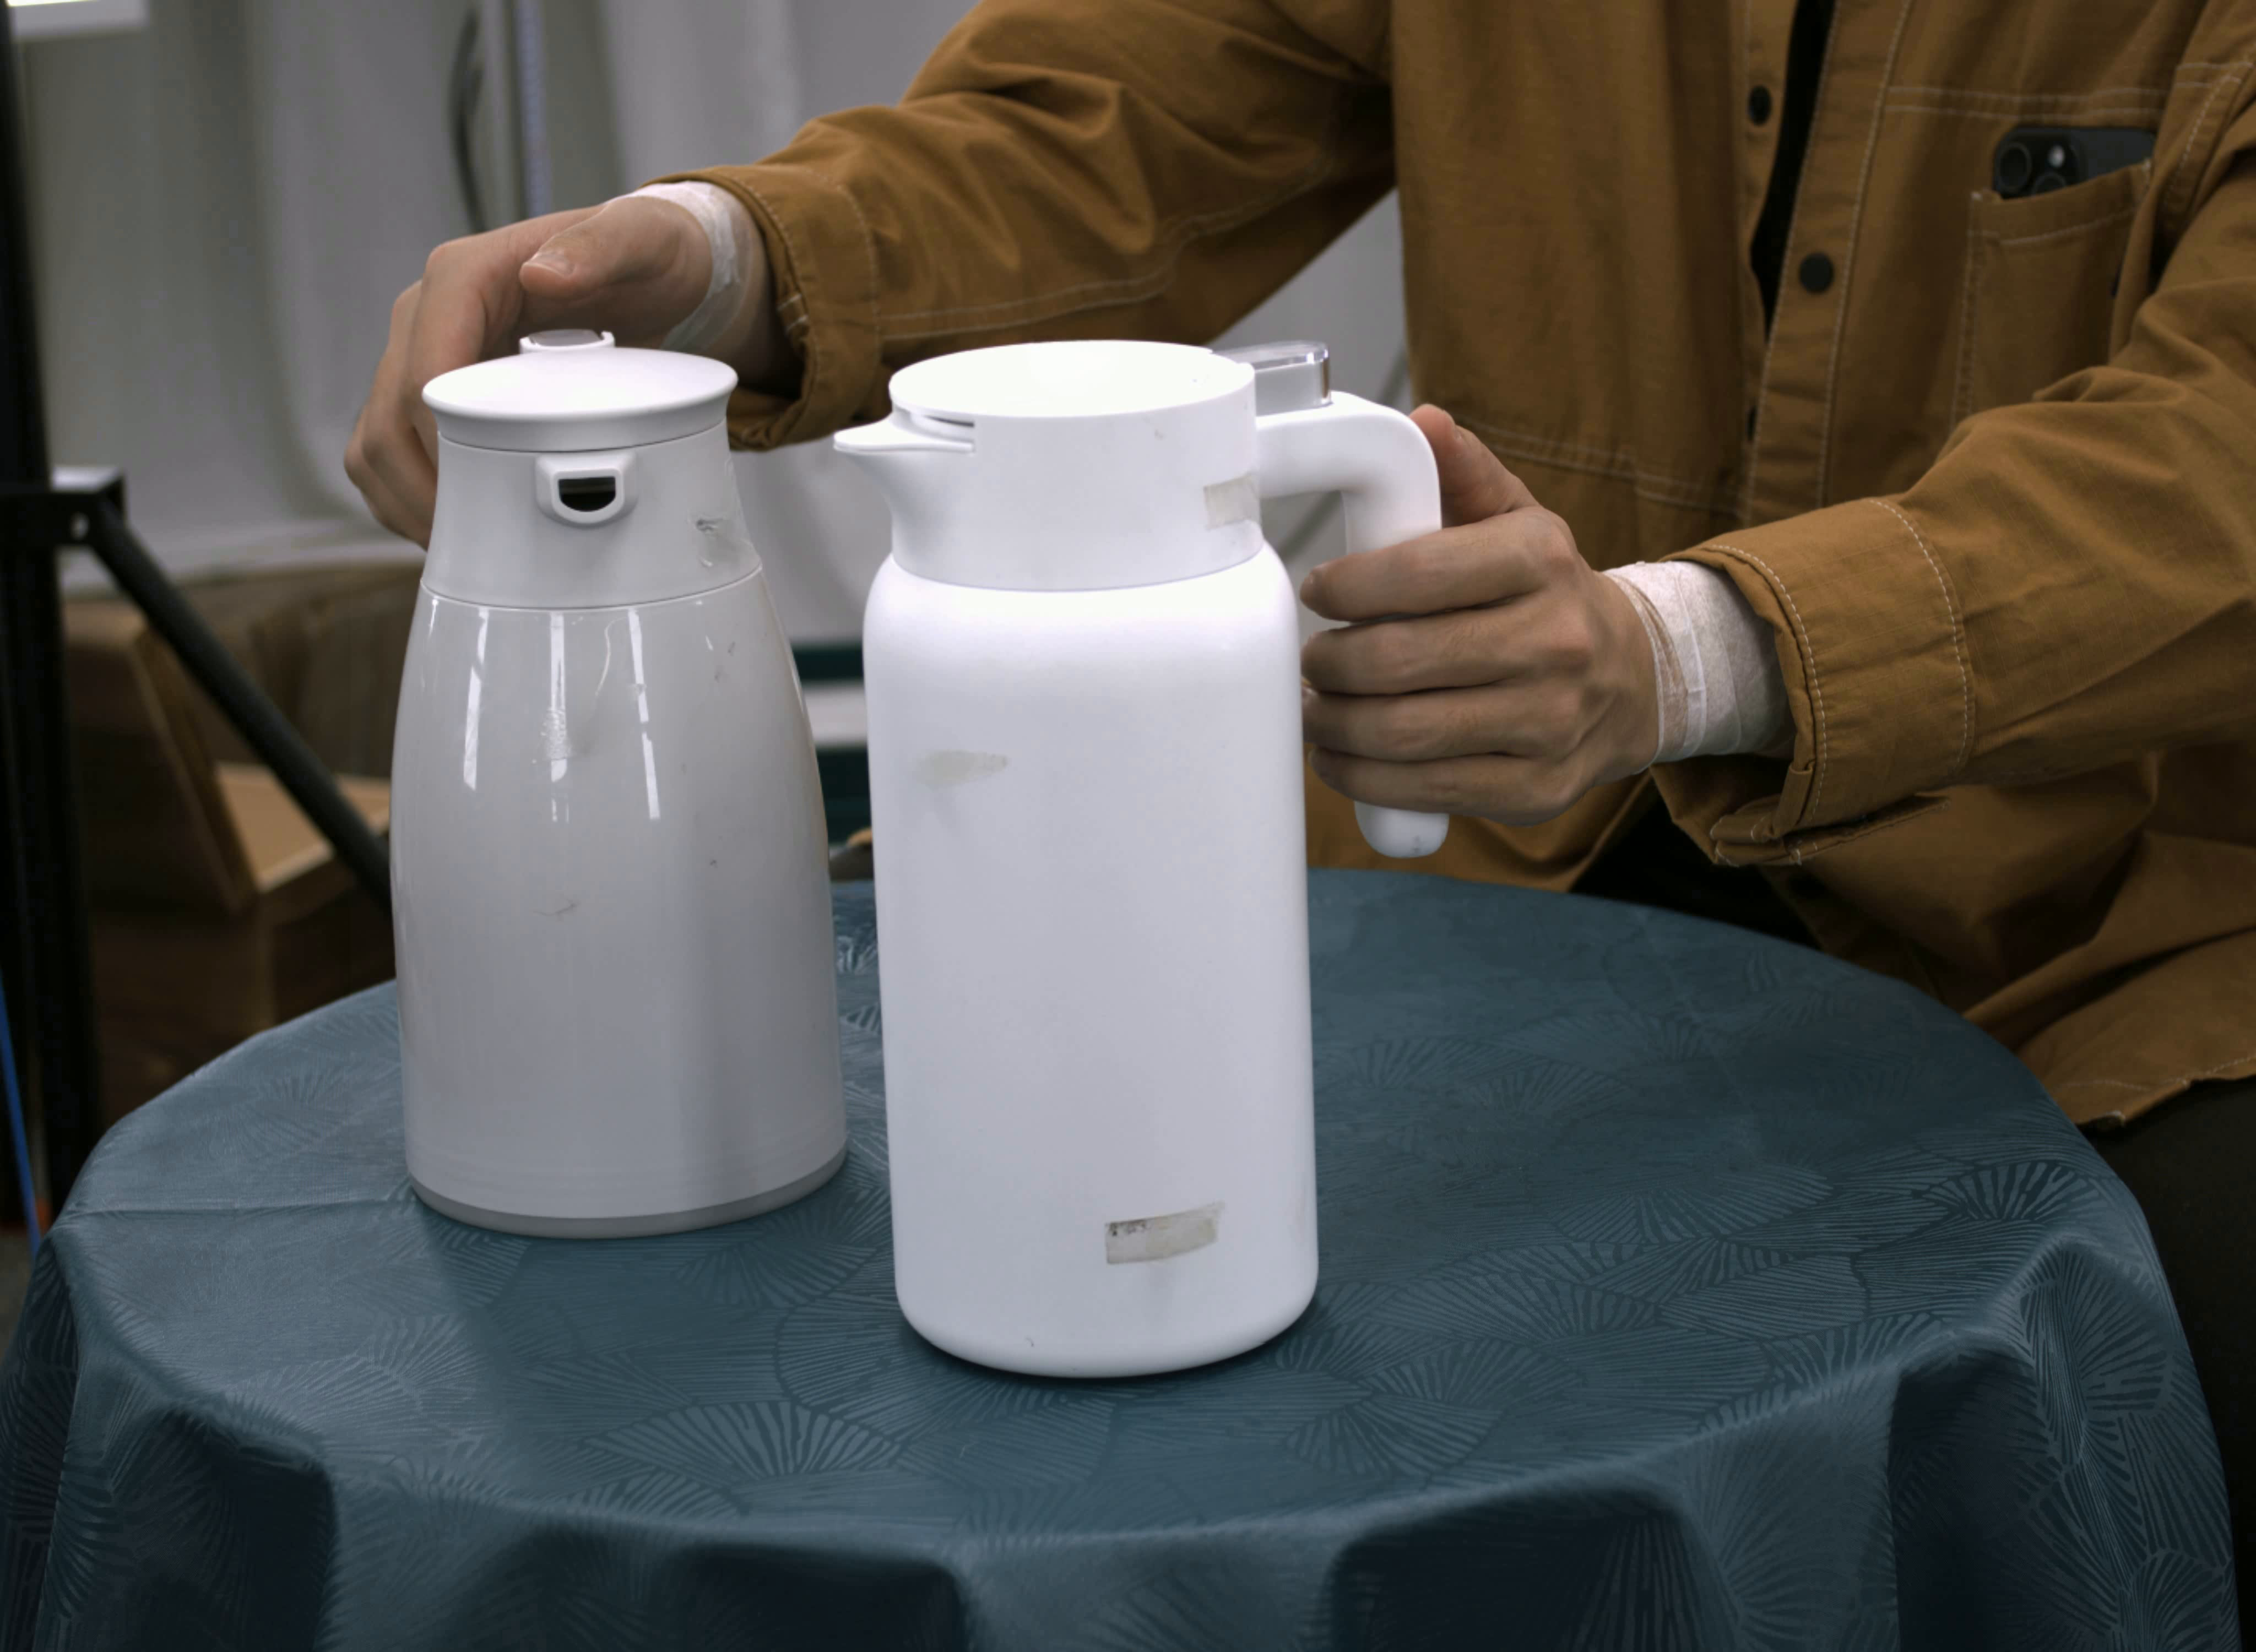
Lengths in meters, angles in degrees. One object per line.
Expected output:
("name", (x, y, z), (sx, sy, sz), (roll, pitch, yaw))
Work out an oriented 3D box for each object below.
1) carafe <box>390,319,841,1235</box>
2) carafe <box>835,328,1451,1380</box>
("carafe", (-0.157, -0.023, 1.589), (0.131, 0.248, 0.169), (-3, 14, -6))
("carafe", (0.006, 0.004, 1.434), (0.169, 0.269, 0.126), (-9, 14, -24))
